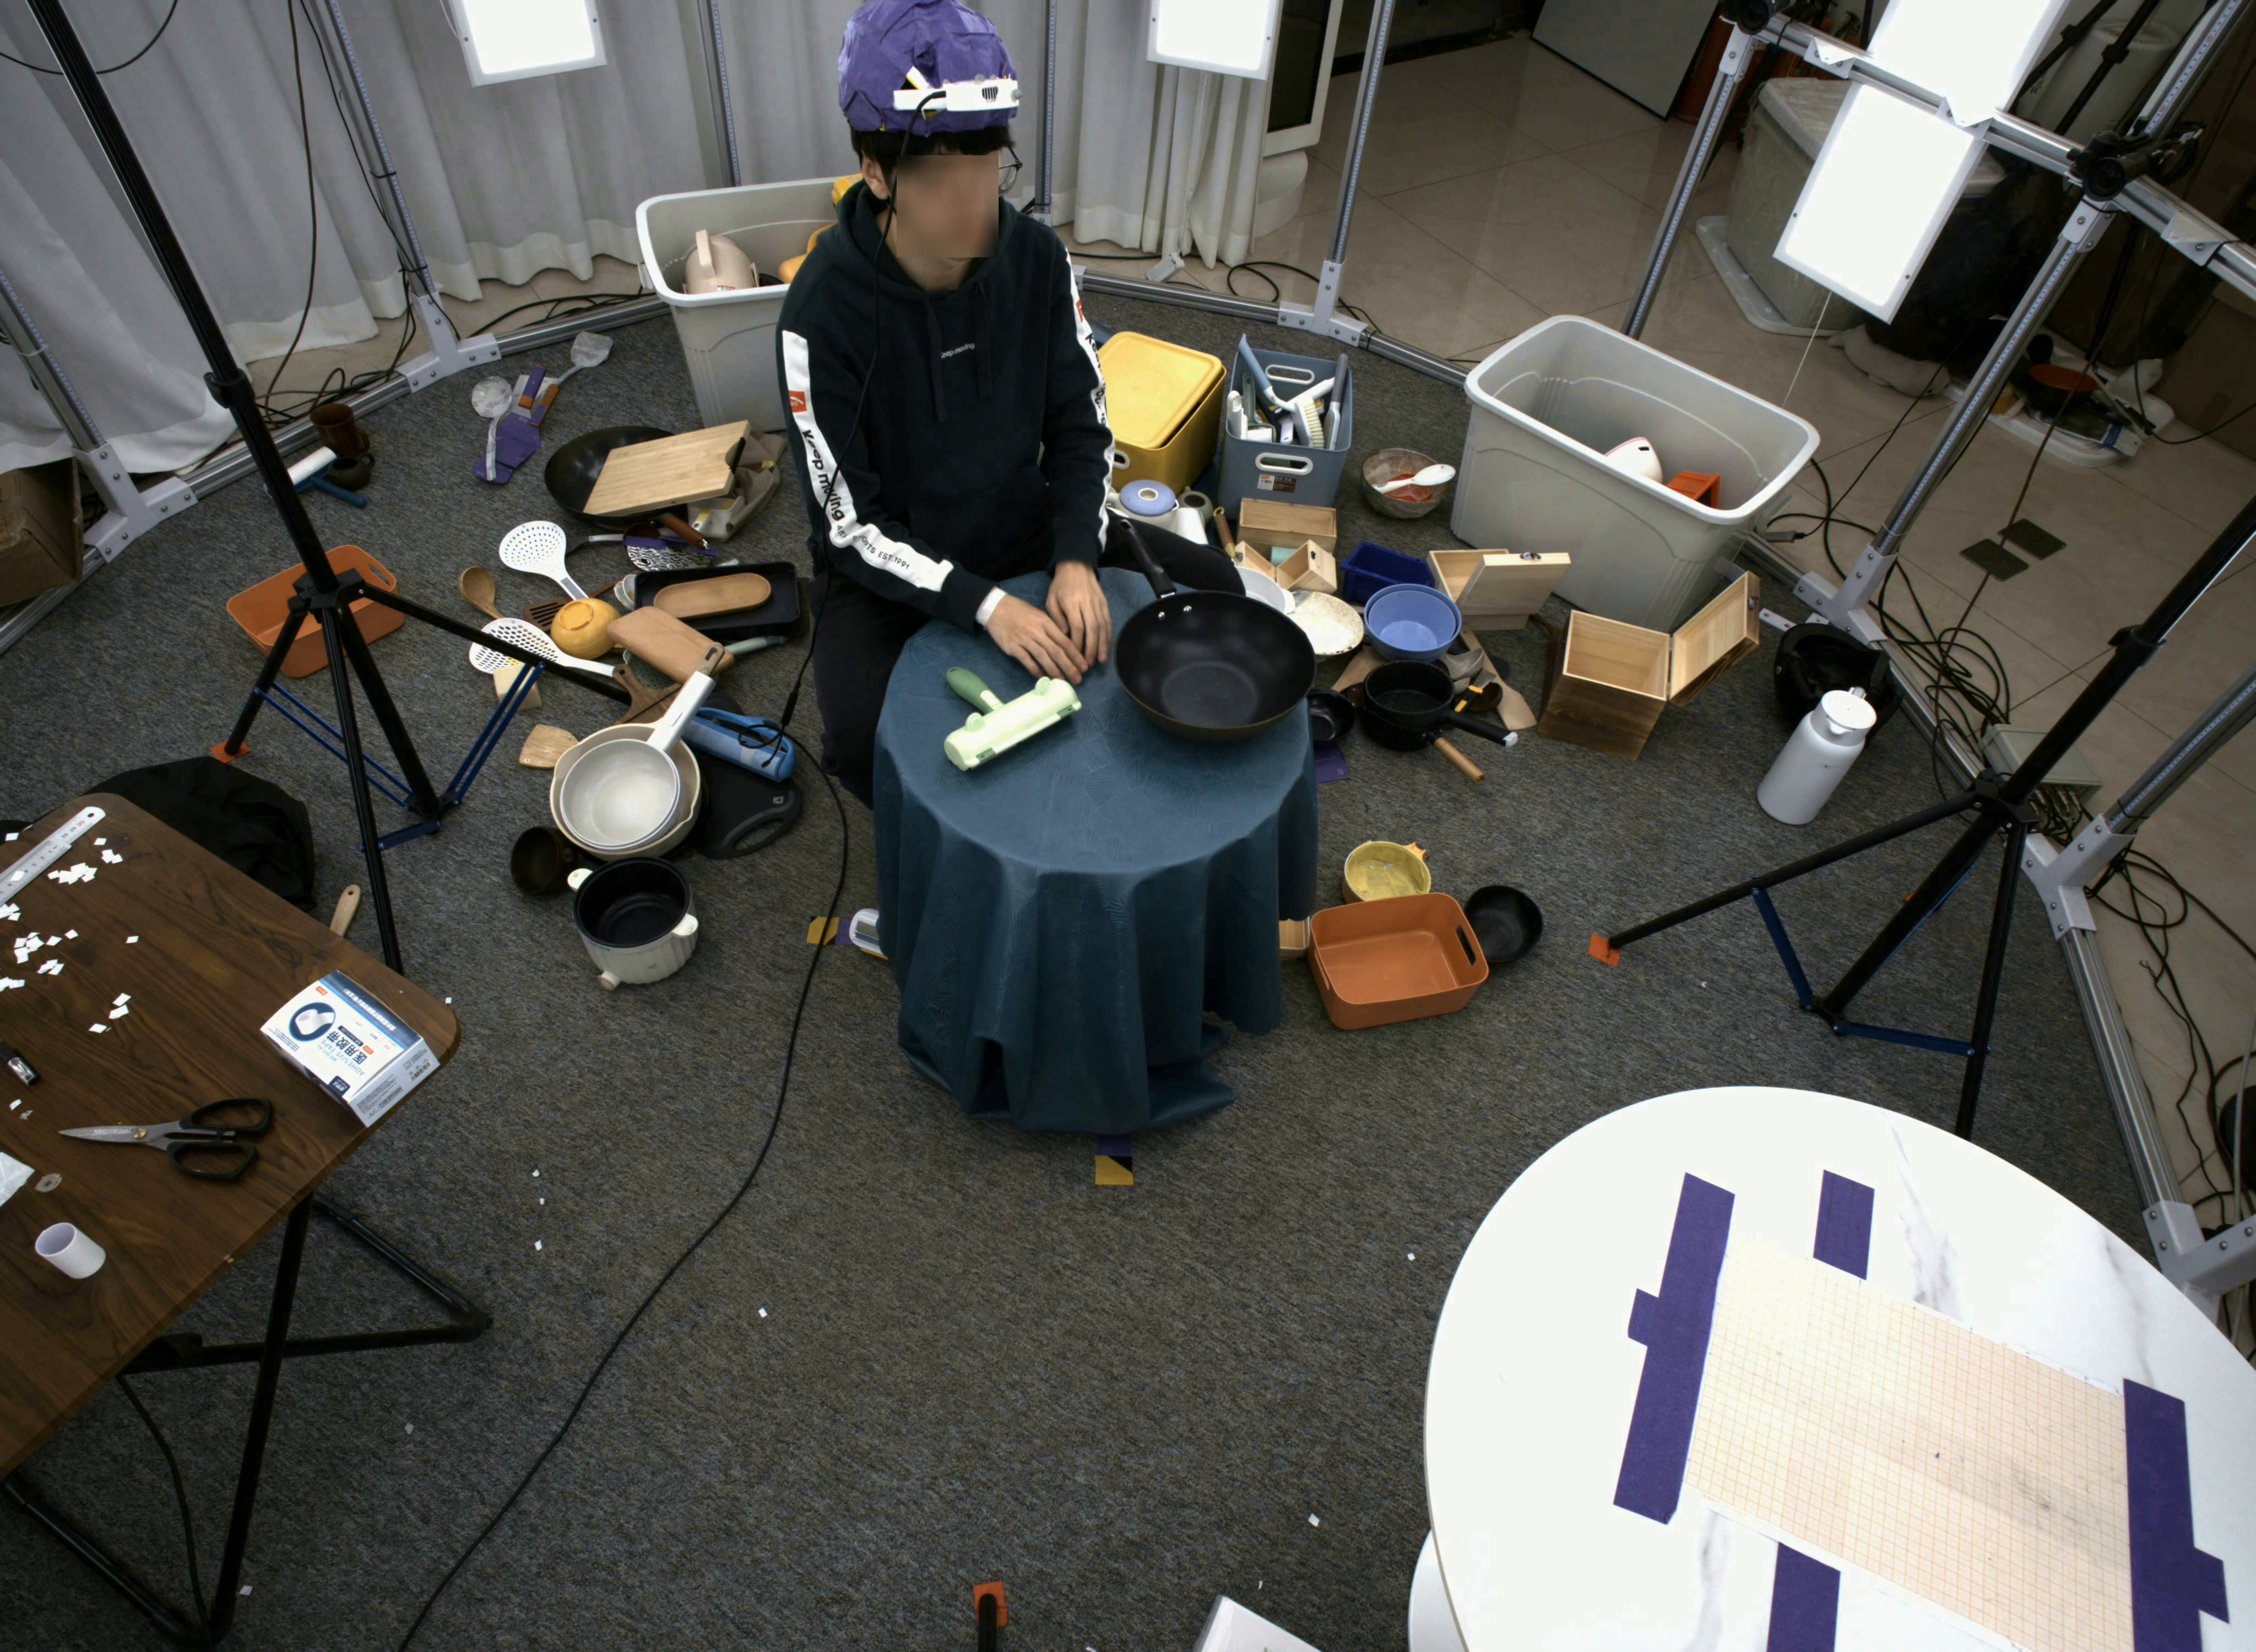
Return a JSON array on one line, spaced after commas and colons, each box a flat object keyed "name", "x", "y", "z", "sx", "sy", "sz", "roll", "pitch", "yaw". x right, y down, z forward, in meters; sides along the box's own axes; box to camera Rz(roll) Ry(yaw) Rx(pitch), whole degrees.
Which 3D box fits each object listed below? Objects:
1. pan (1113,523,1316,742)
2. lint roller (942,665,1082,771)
[{"name": "pan", "x": 0.080, "y": -0.275, "z": 1.858, "sx": 0.288, "sy": 0.085, "sz": 0.474, "roll": -17, "pitch": 51, "yaw": -18}, {"name": "lint roller", "x": -0.192, "y": -0.180, "z": 1.763, "sx": 0.200, "sy": 0.080, "sz": 0.186, "roll": -31, "pitch": 63, "yaw": -26}]
